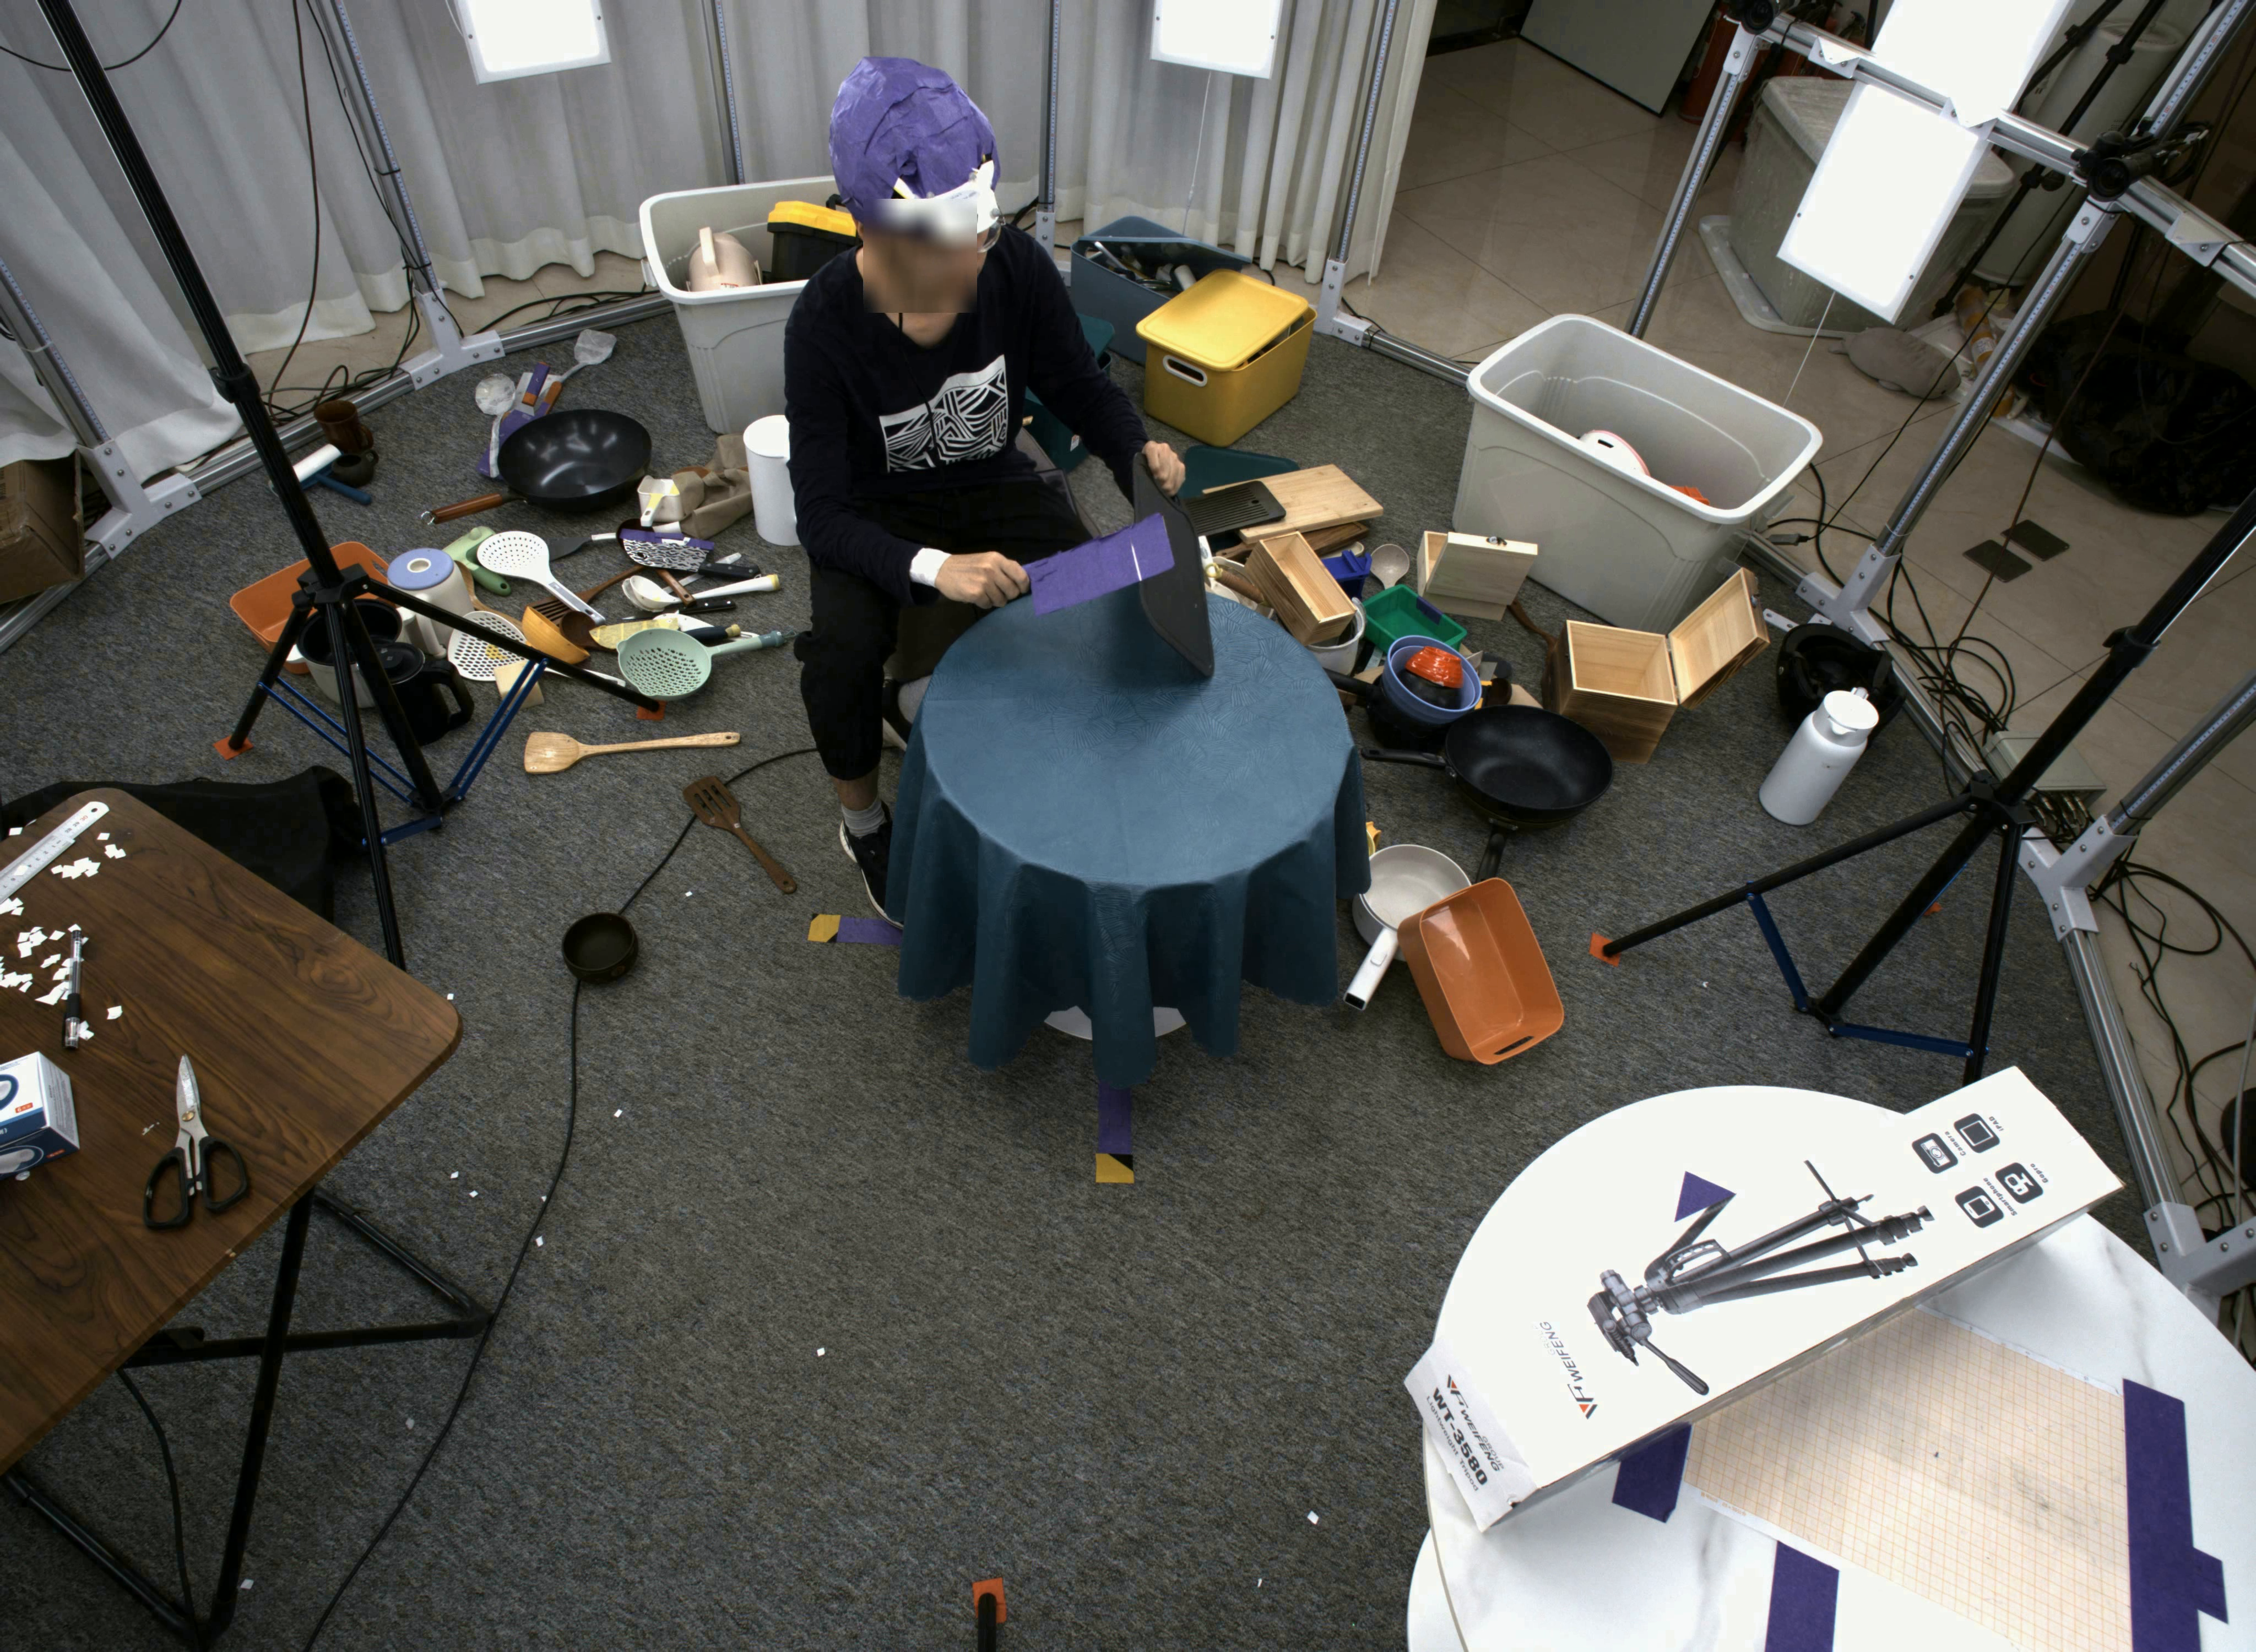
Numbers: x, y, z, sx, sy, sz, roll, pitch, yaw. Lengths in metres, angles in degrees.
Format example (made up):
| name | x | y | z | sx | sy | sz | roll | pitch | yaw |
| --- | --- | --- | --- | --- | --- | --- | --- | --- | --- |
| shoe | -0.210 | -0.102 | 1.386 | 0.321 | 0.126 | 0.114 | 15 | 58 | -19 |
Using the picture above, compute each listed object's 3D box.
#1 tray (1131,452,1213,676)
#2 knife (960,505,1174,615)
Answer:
| name | x | y | z | sx | sy | sz | roll | pitch | yaw |
| --- | --- | --- | --- | --- | --- | --- | --- | --- | --- |
| tray | 0.065 | -0.386 | 1.860 | 0.010 | 0.207 | 0.332 | -18 | 59 | 27 |
| knife | -0.088 | -0.347 | 1.780 | 0.314 | 0.031 | 0.106 | -19 | 62 | 18 |
